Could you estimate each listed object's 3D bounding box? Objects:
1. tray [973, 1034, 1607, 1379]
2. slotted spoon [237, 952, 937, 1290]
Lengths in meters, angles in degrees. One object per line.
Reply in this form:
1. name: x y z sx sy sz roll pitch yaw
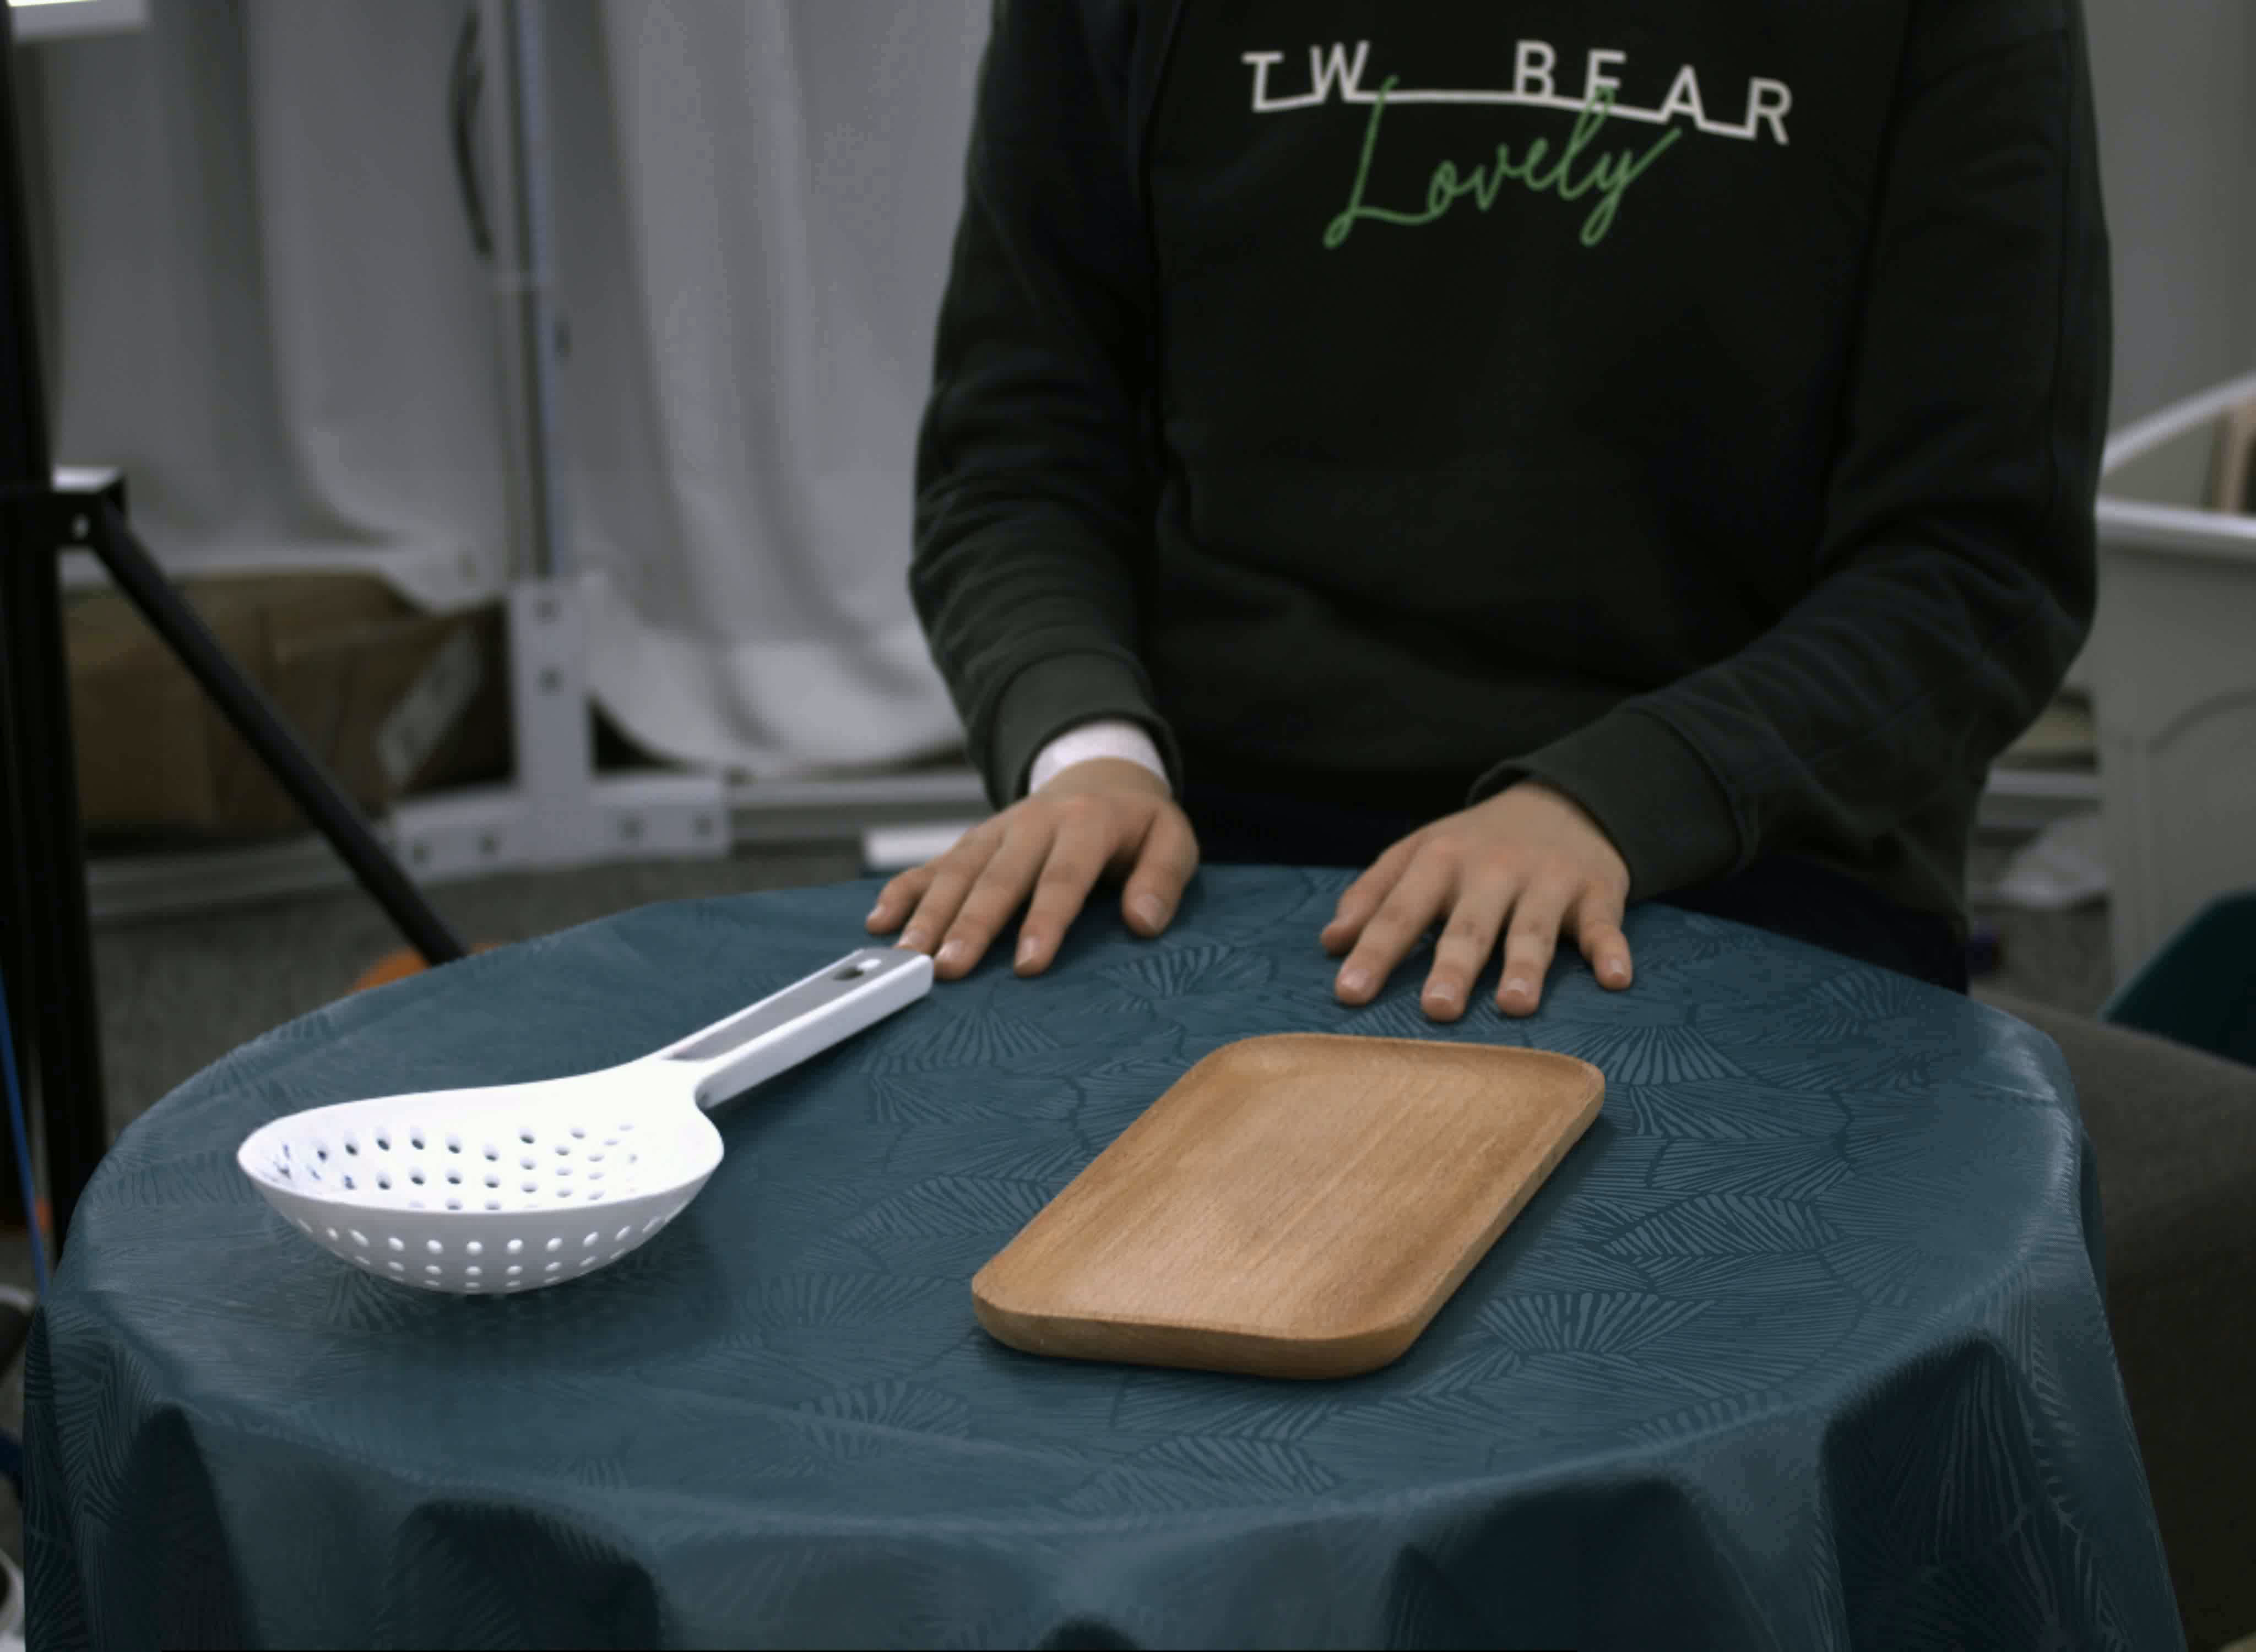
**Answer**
1. tray: 0.051 0.106 1.525 0.132 0.023 0.247 5 17 20
2. slotted spoon: -0.141 0.079 1.601 0.138 0.046 0.345 6 17 22
